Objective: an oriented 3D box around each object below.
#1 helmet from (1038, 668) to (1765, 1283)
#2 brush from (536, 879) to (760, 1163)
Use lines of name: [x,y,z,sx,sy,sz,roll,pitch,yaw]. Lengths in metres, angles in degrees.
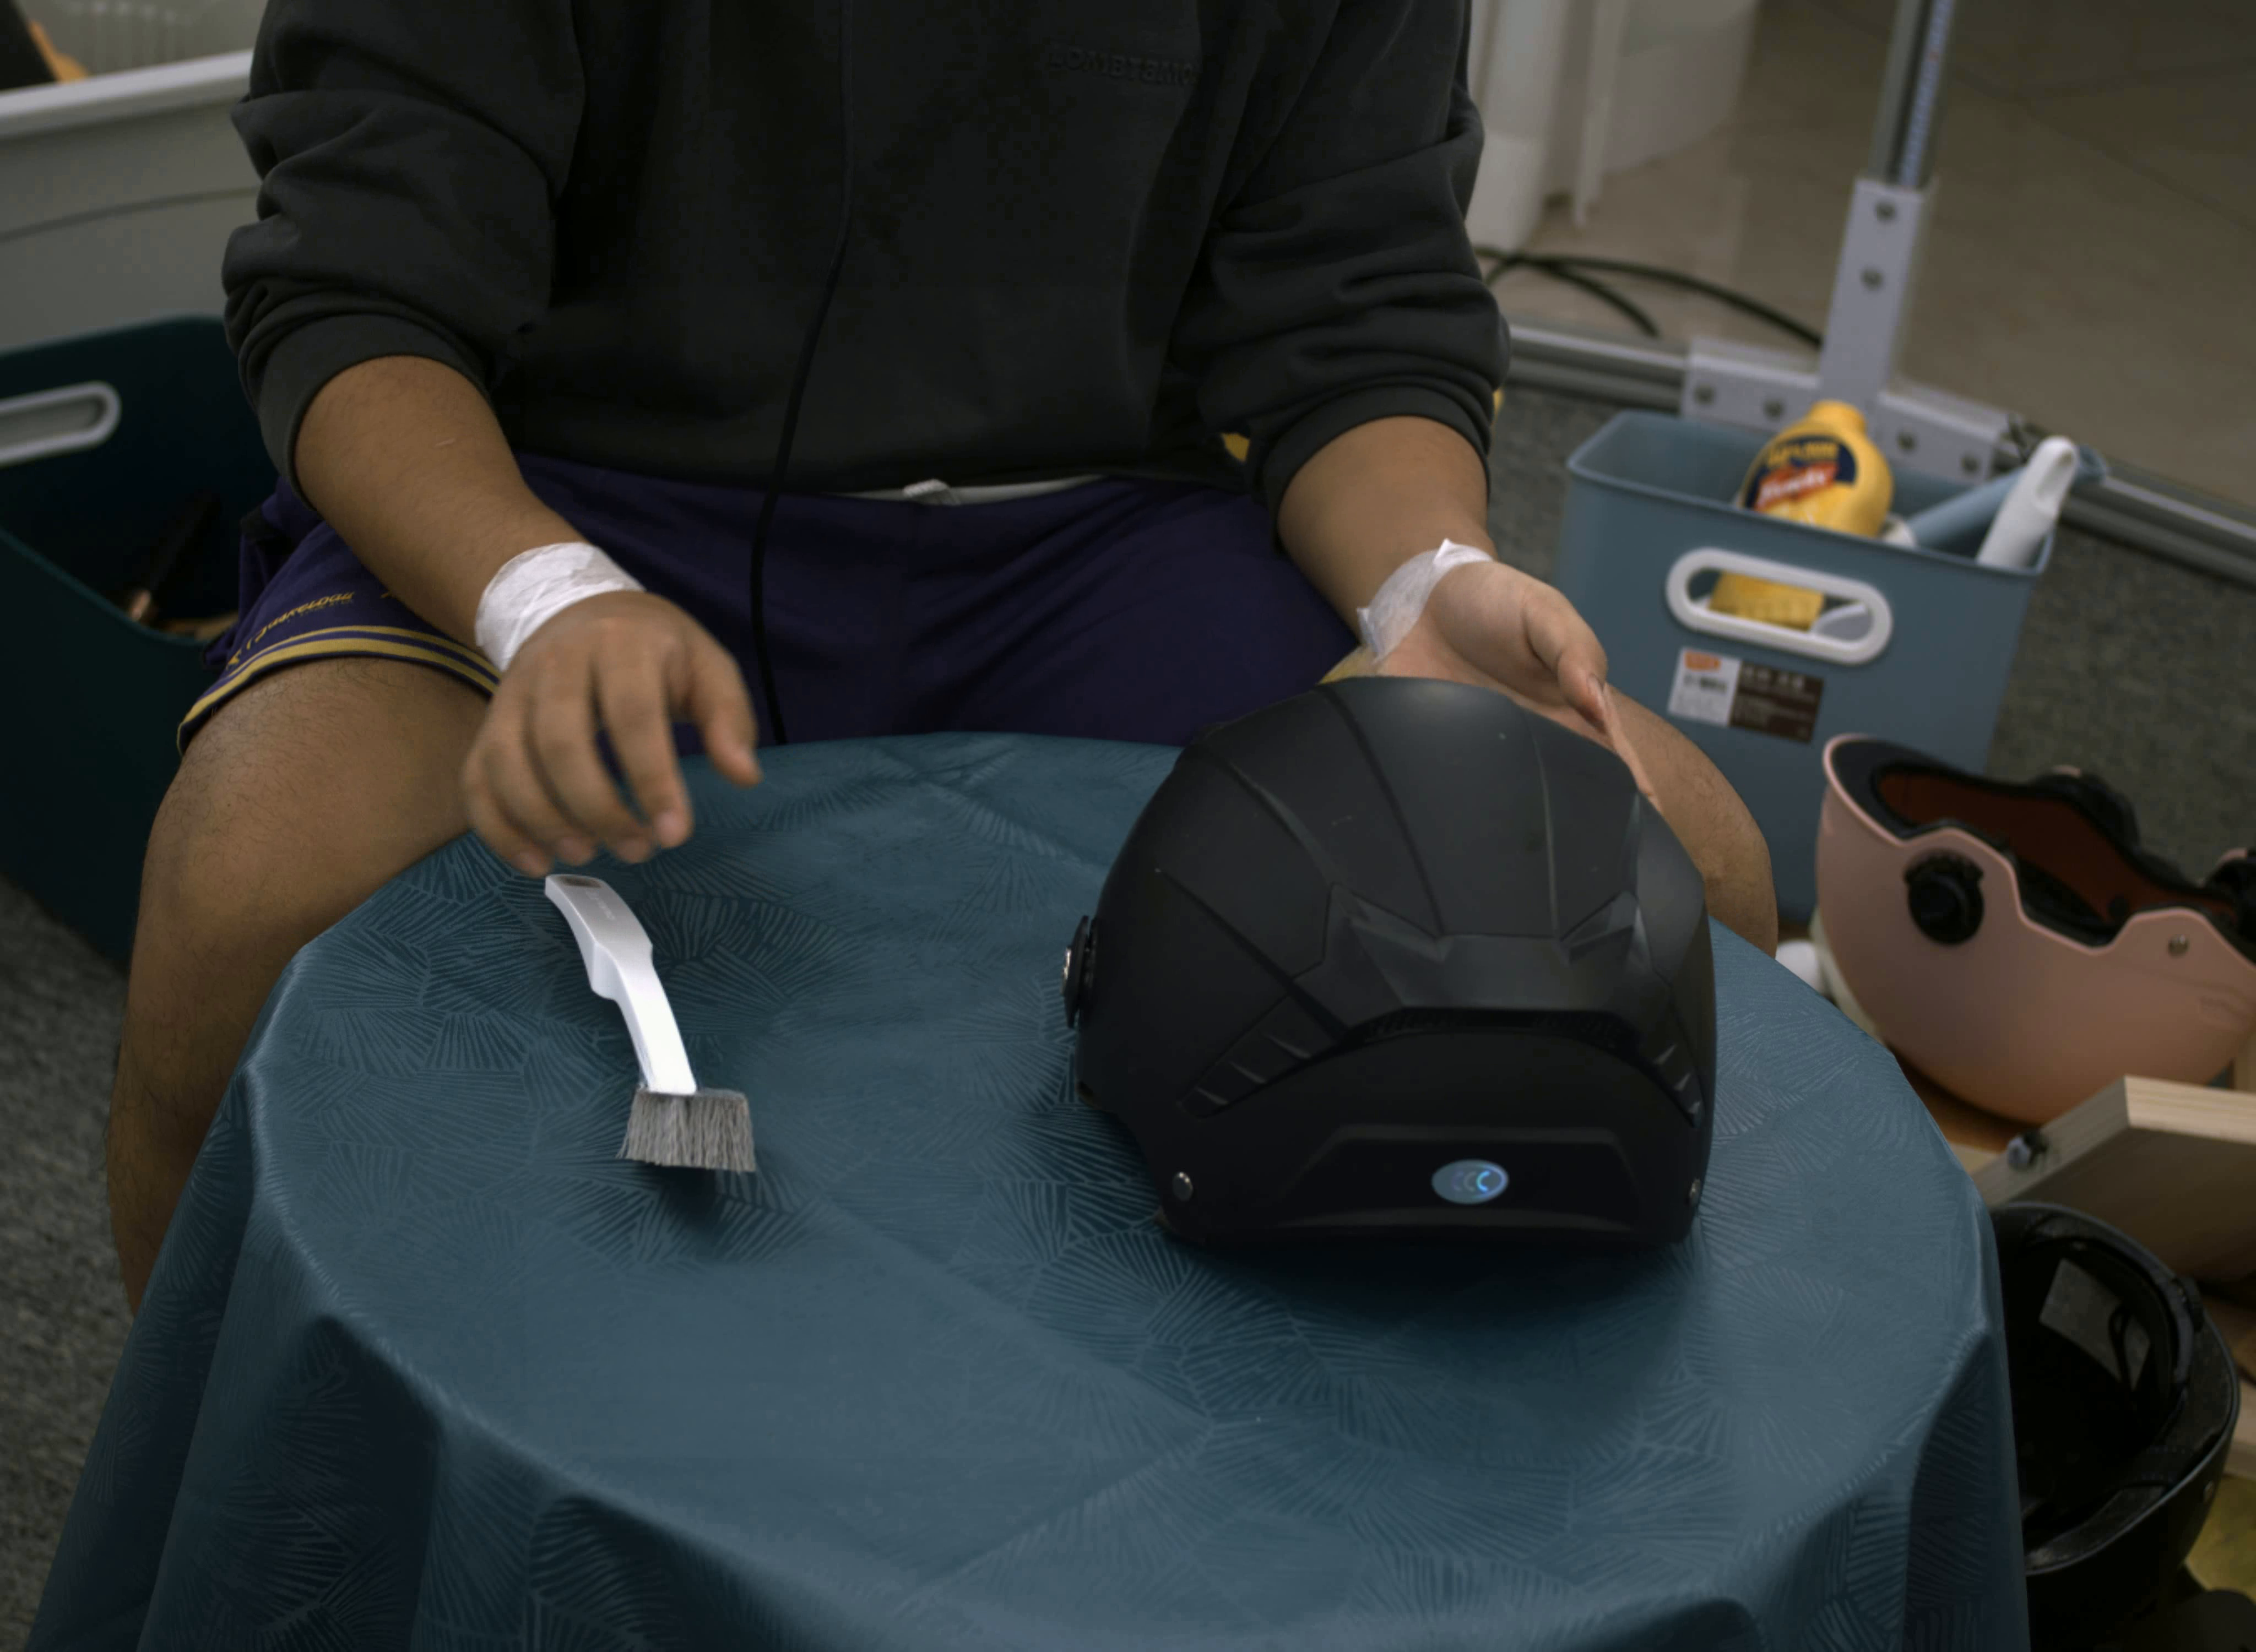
helmet: [0.100,0.035,1.823,0.245,0.172,0.279,3,29,-8]
brush: [-0.172,0.070,1.842,0.034,0.050,0.245,4,13,-20]
